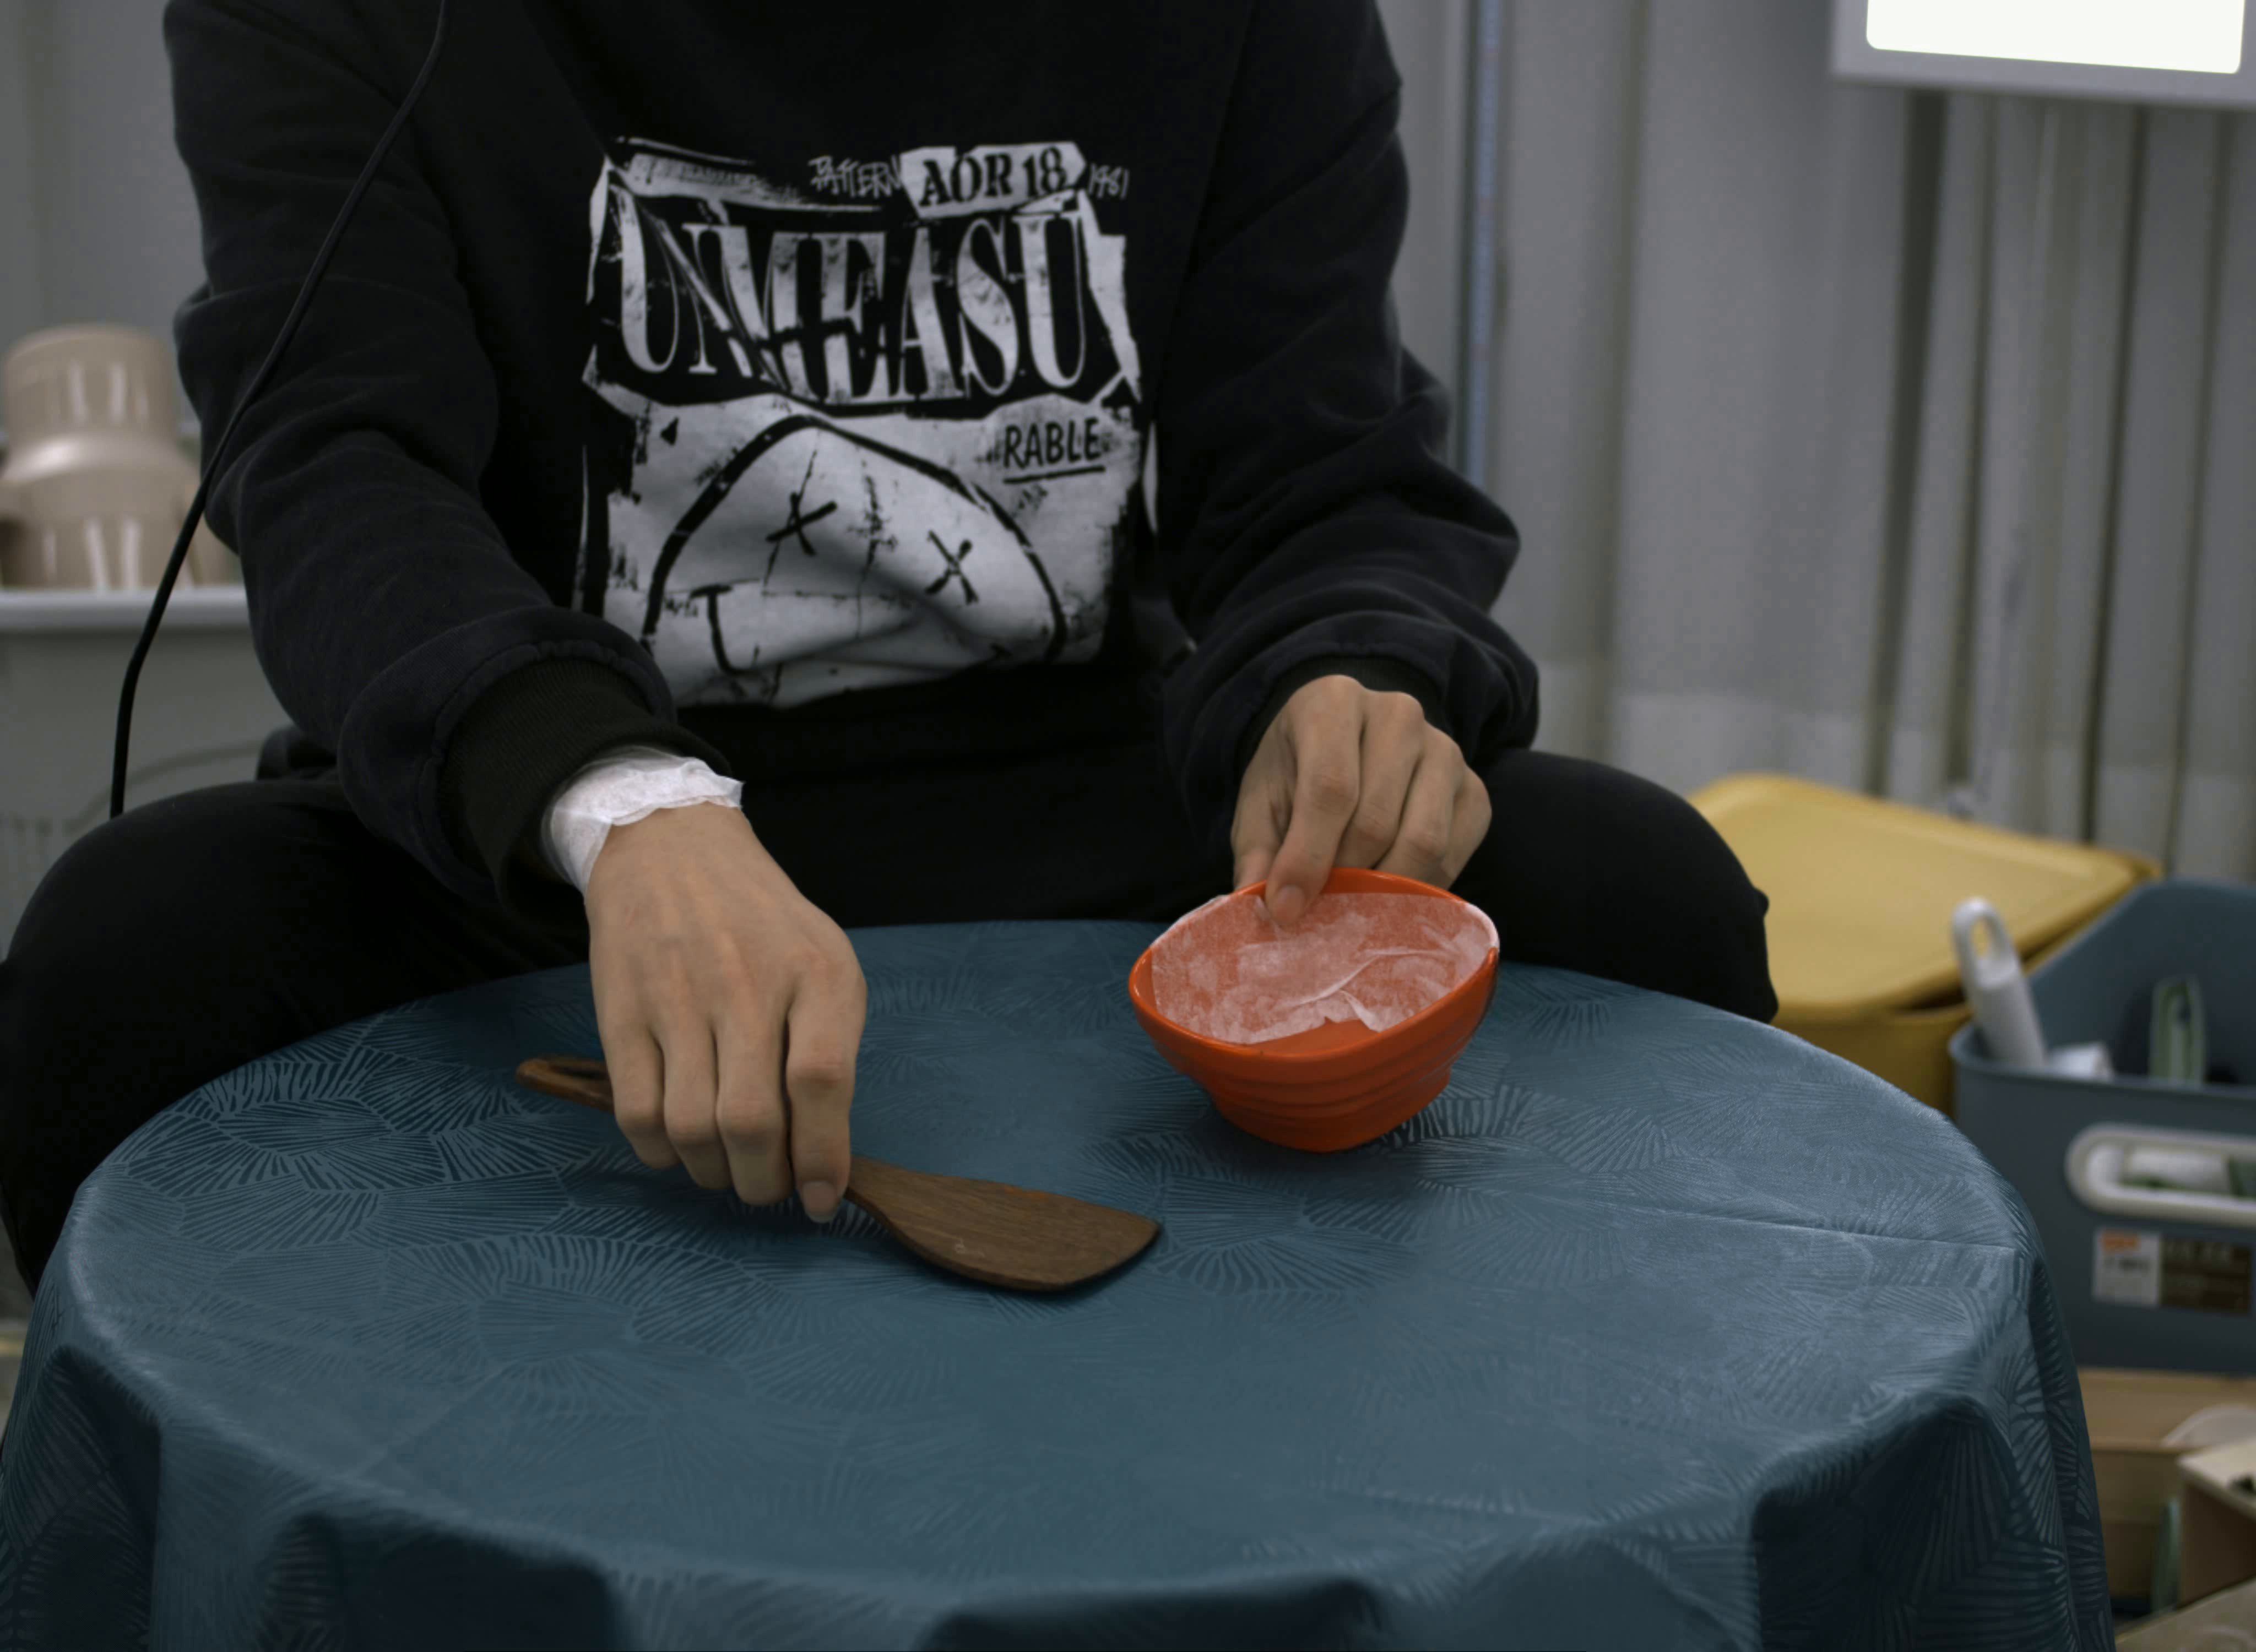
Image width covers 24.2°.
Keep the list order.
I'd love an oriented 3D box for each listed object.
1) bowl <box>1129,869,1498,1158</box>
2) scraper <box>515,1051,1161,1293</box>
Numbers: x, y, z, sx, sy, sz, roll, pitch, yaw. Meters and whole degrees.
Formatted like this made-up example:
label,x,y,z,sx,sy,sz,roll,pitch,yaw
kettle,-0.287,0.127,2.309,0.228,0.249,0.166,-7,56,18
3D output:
label,x,y,z,sx,sy,sz,roll,pitch,yaw
bowl,0.062,0.064,1.682,0.118,0.052,0.118,-8,29,5
scraper,-0.093,0.103,1.596,0.209,0.011,0.076,18,19,21
